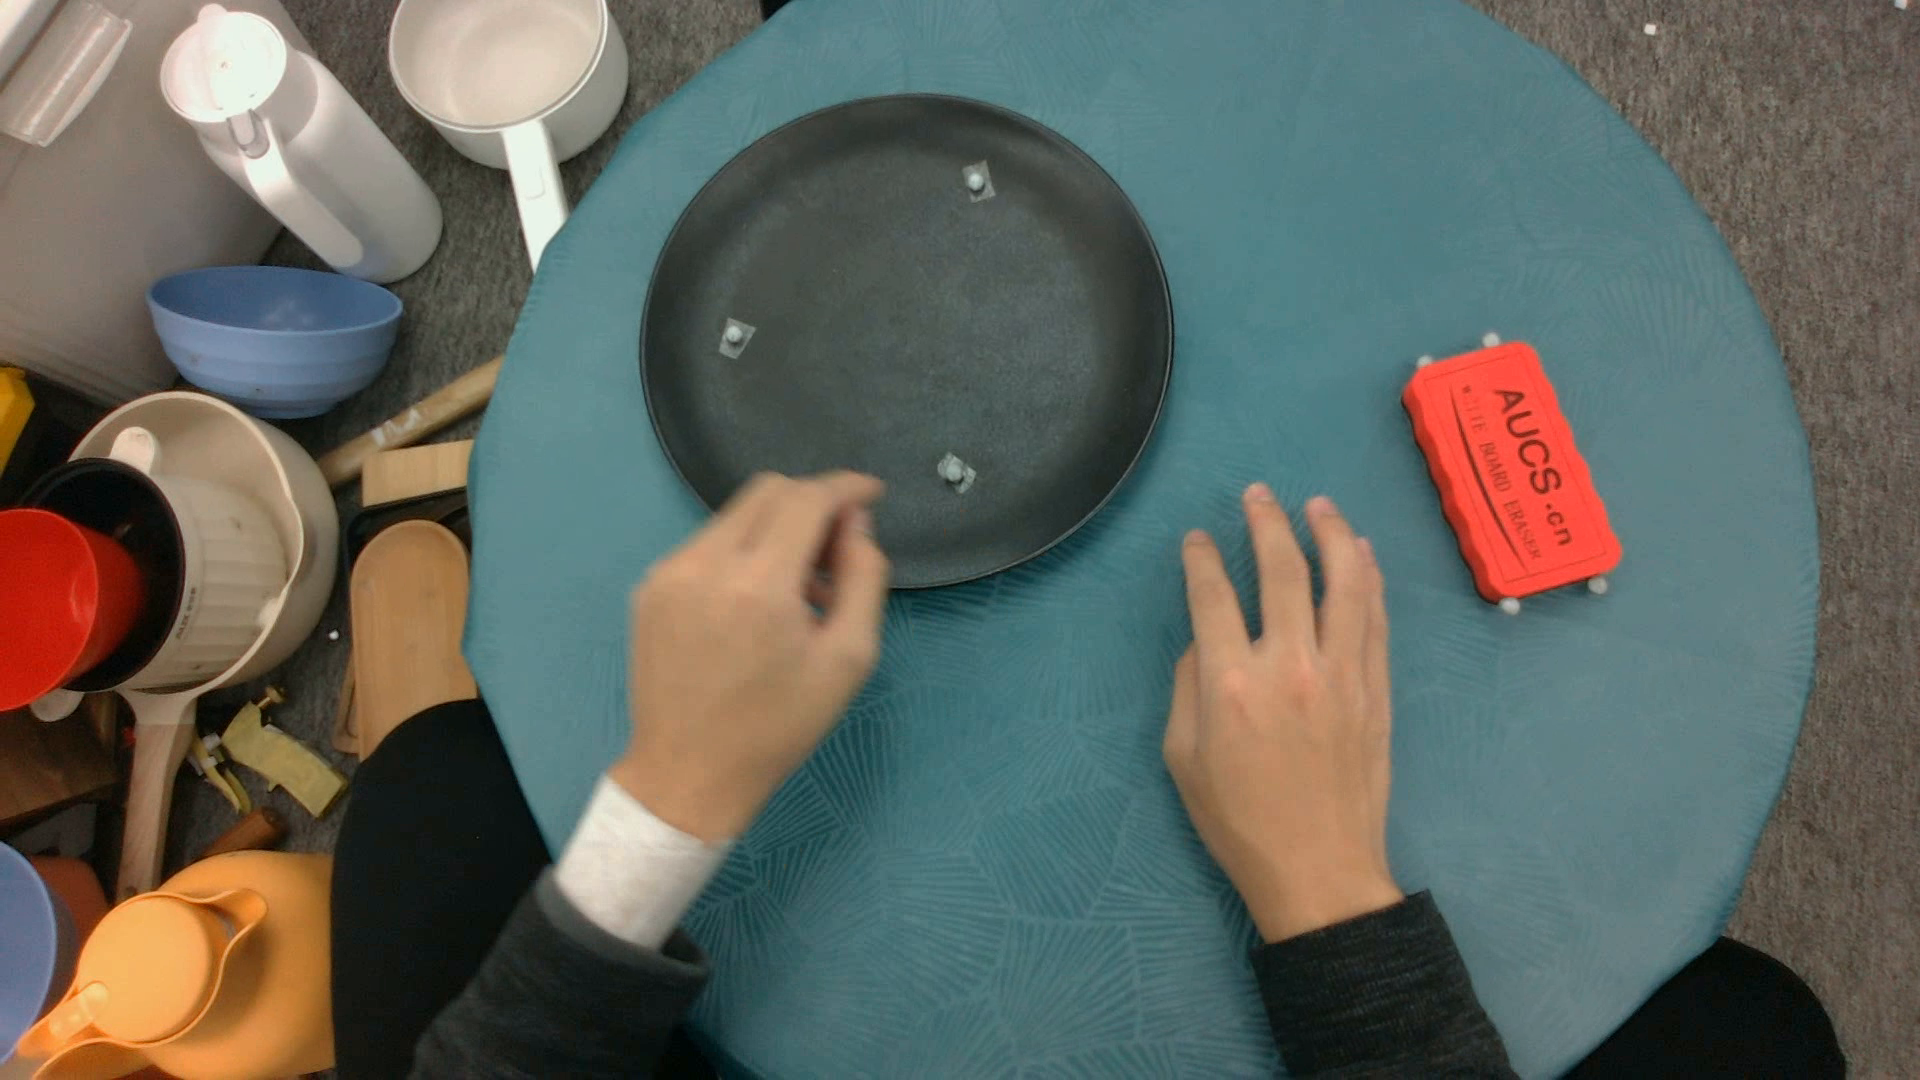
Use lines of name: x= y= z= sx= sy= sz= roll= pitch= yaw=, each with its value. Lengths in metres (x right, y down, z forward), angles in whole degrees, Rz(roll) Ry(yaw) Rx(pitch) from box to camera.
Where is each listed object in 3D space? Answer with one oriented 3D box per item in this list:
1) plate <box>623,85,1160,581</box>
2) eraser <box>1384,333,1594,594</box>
plate: x=-0.031 y=-0.097 z=0.633 sx=0.244 sy=0.023 sz=0.245 roll=0 pitch=75 yaw=2
eraser: x=0.231 y=-0.034 z=0.605 sx=0.059 sy=0.023 sz=0.108 roll=-15 pitch=75 yaw=0
